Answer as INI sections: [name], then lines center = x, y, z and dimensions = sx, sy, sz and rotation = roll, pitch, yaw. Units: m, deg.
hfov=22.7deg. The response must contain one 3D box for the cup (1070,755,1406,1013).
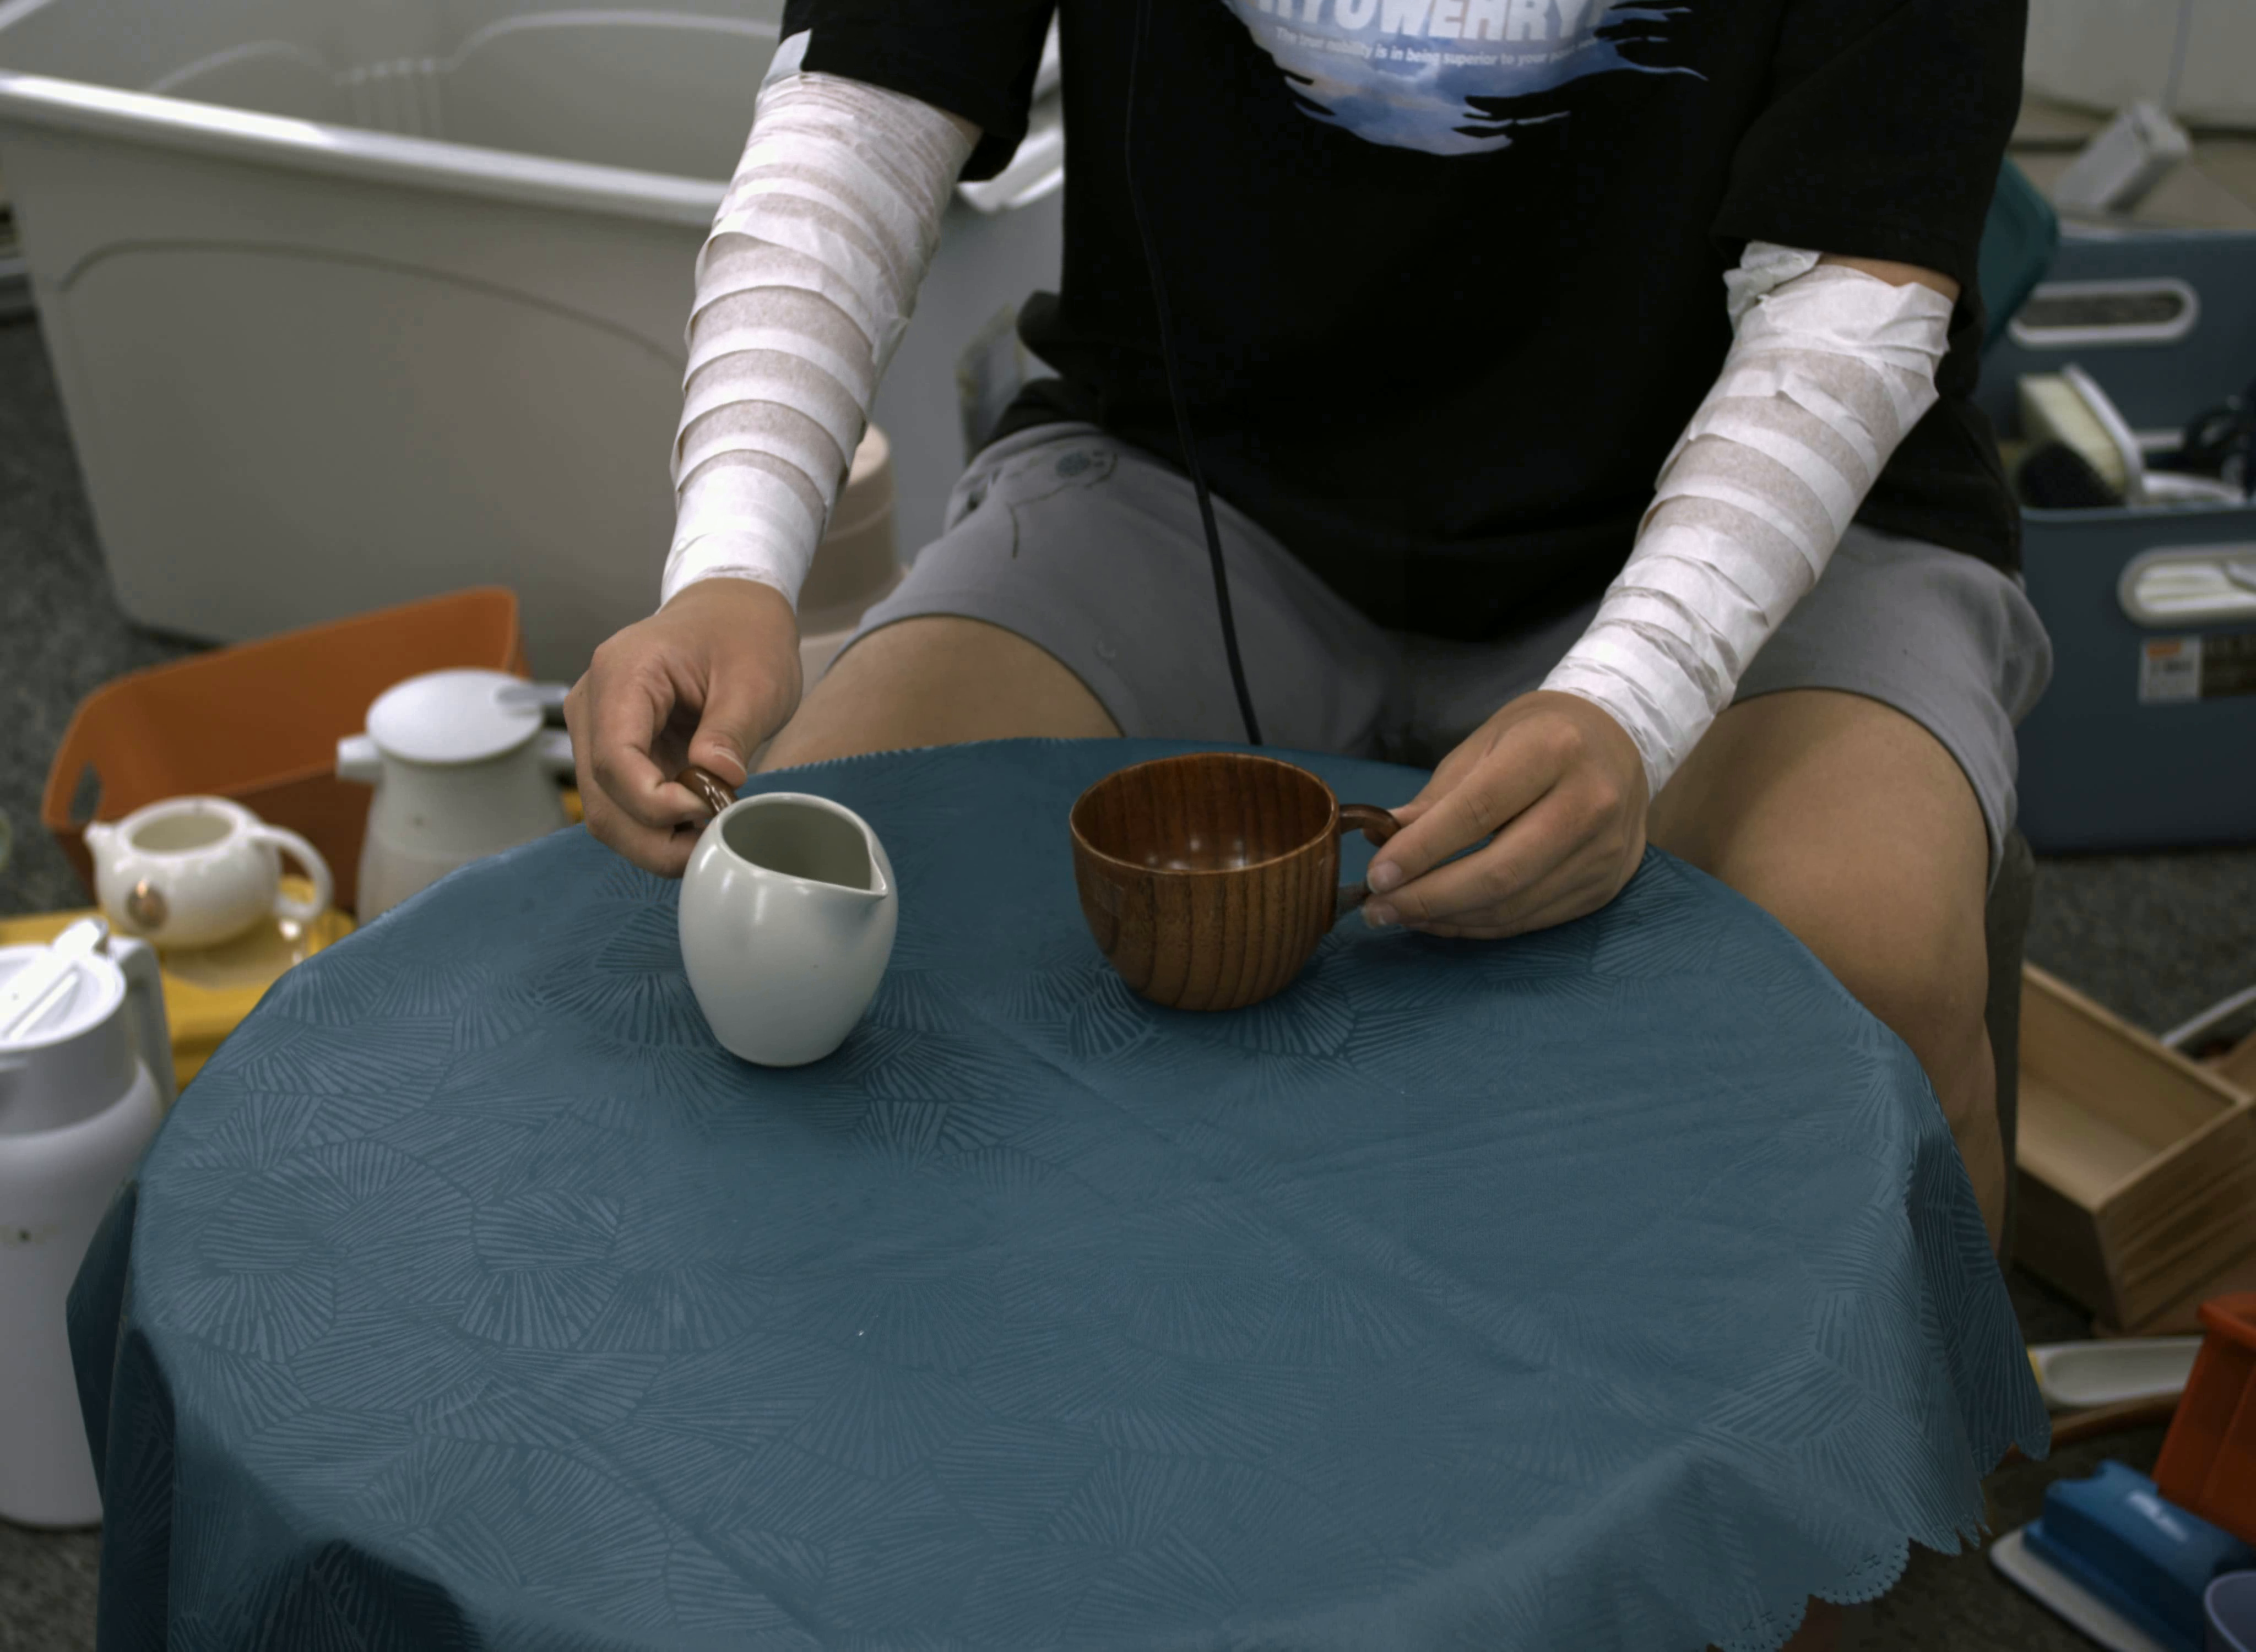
[cup]
center = 0.040, 0.023, 1.980
dimensions = 0.119, 0.067, 0.097
rotation = -4, 23, -6

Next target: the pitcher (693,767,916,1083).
[pitcher]
center = -0.117, 0.036, 1.936
dimensions = 0.076, 0.086, 0.120
rotation = -11, 39, -35
